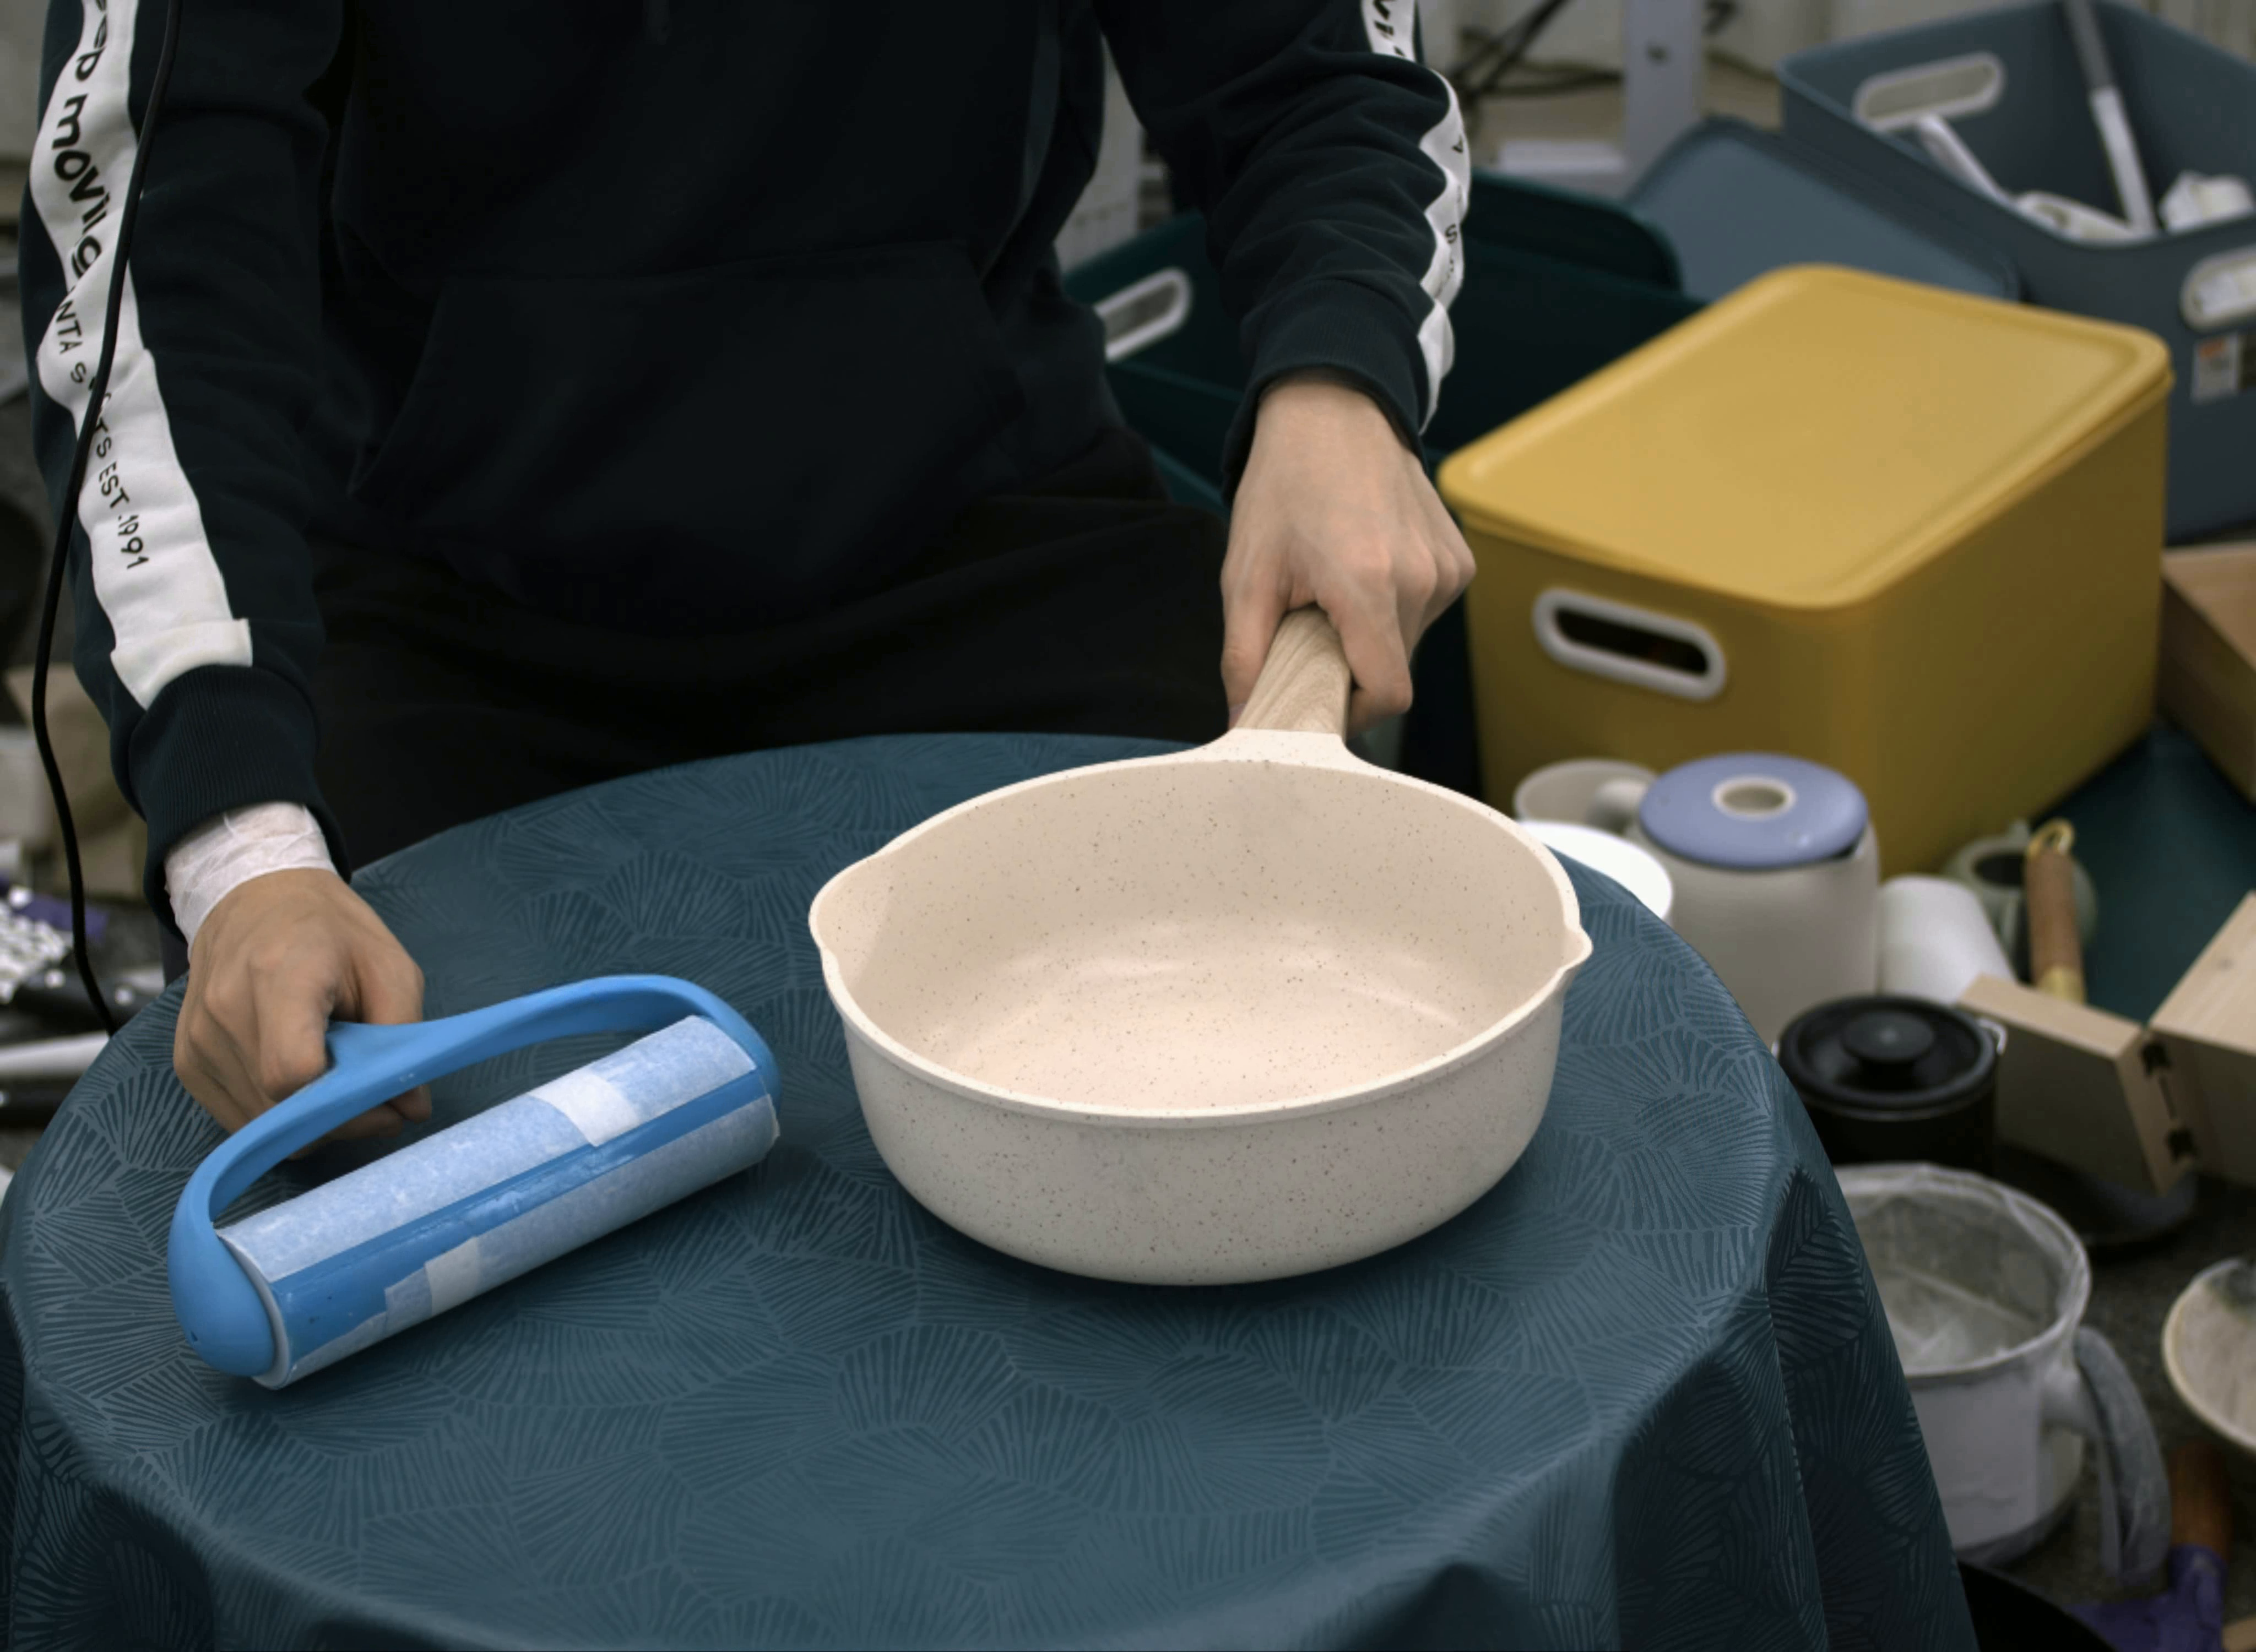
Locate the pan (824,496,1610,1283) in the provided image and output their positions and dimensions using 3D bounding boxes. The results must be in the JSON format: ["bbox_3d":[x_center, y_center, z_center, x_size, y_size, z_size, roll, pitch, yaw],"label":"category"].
[{"bbox_3d":[0.049,0.019,1.946,0.261,0.101,0.442,2,27,12],"label":"pan"}]

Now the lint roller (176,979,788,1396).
[{"bbox_3d":[-0.245,0.102,1.860,0.232,0.067,0.180,-28,37,-36],"label":"lint roller"}]
